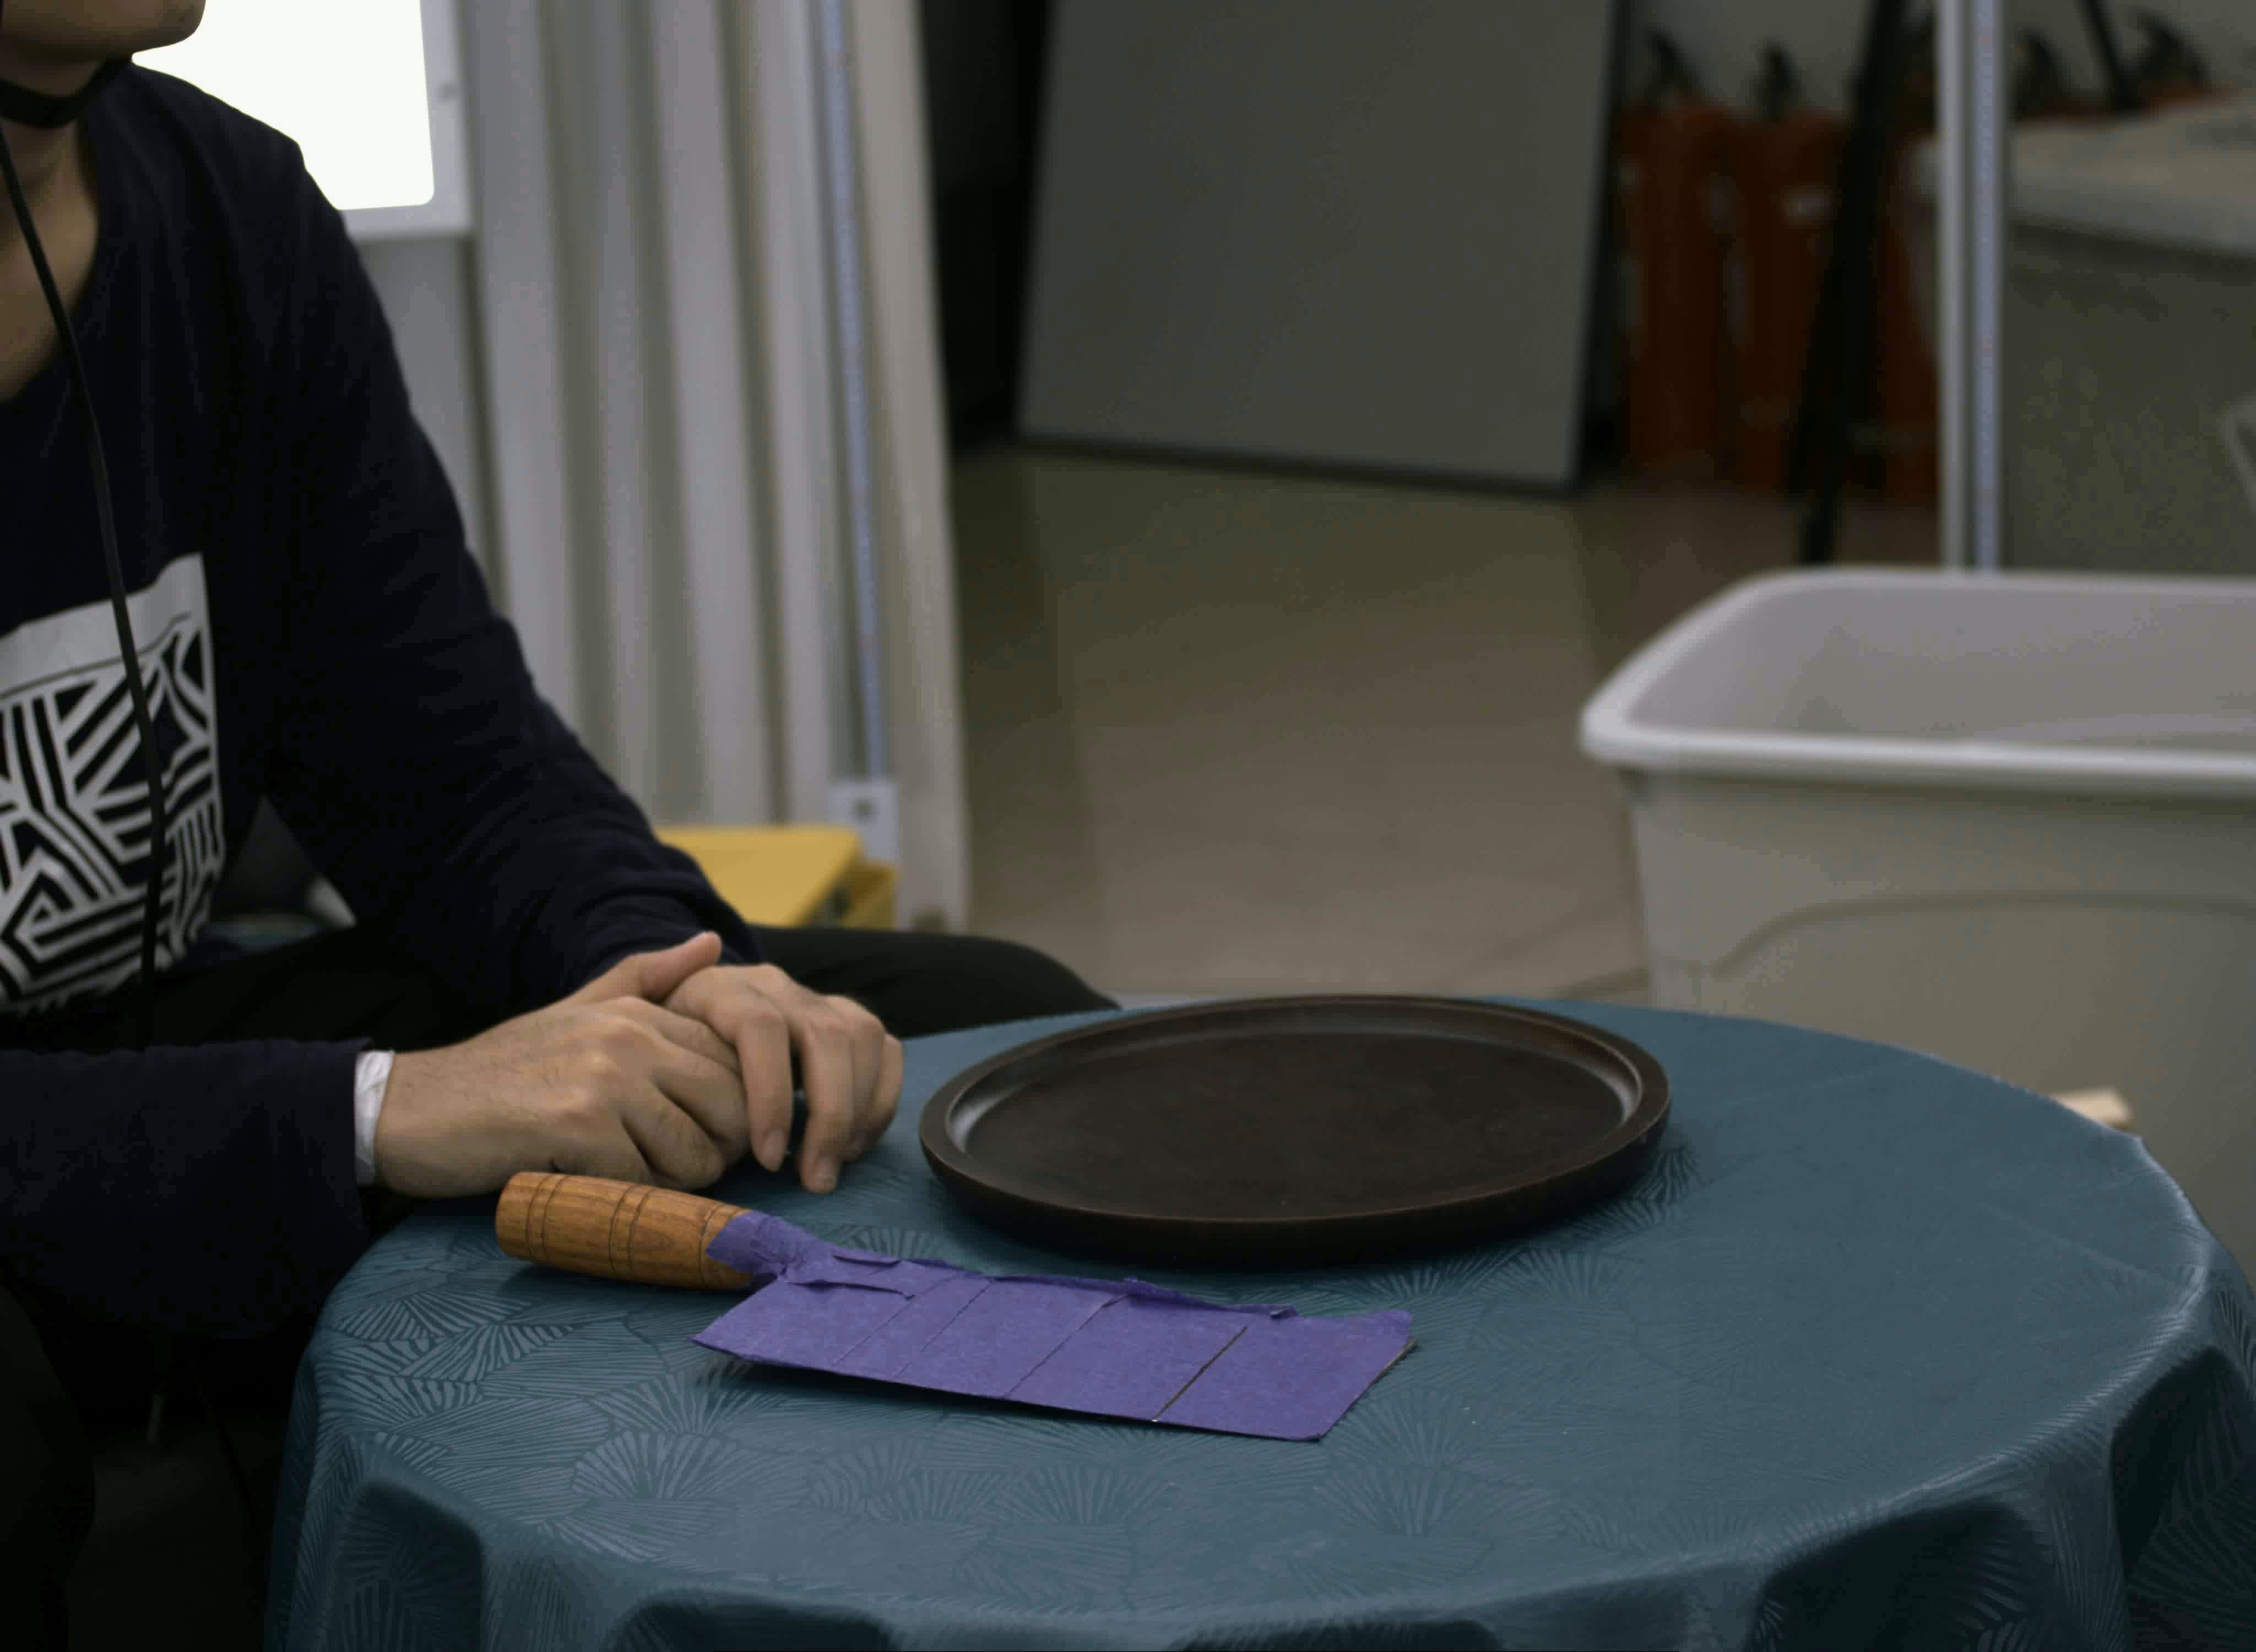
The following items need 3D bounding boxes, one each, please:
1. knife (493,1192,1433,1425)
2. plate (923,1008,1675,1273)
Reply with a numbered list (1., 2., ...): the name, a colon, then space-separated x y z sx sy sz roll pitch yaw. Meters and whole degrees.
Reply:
1. knife: -0.067 0.146 1.637 0.315 0.032 0.102 3 15 25
2. plate: 0.057 0.102 1.790 0.251 0.029 0.255 -3 14 0
